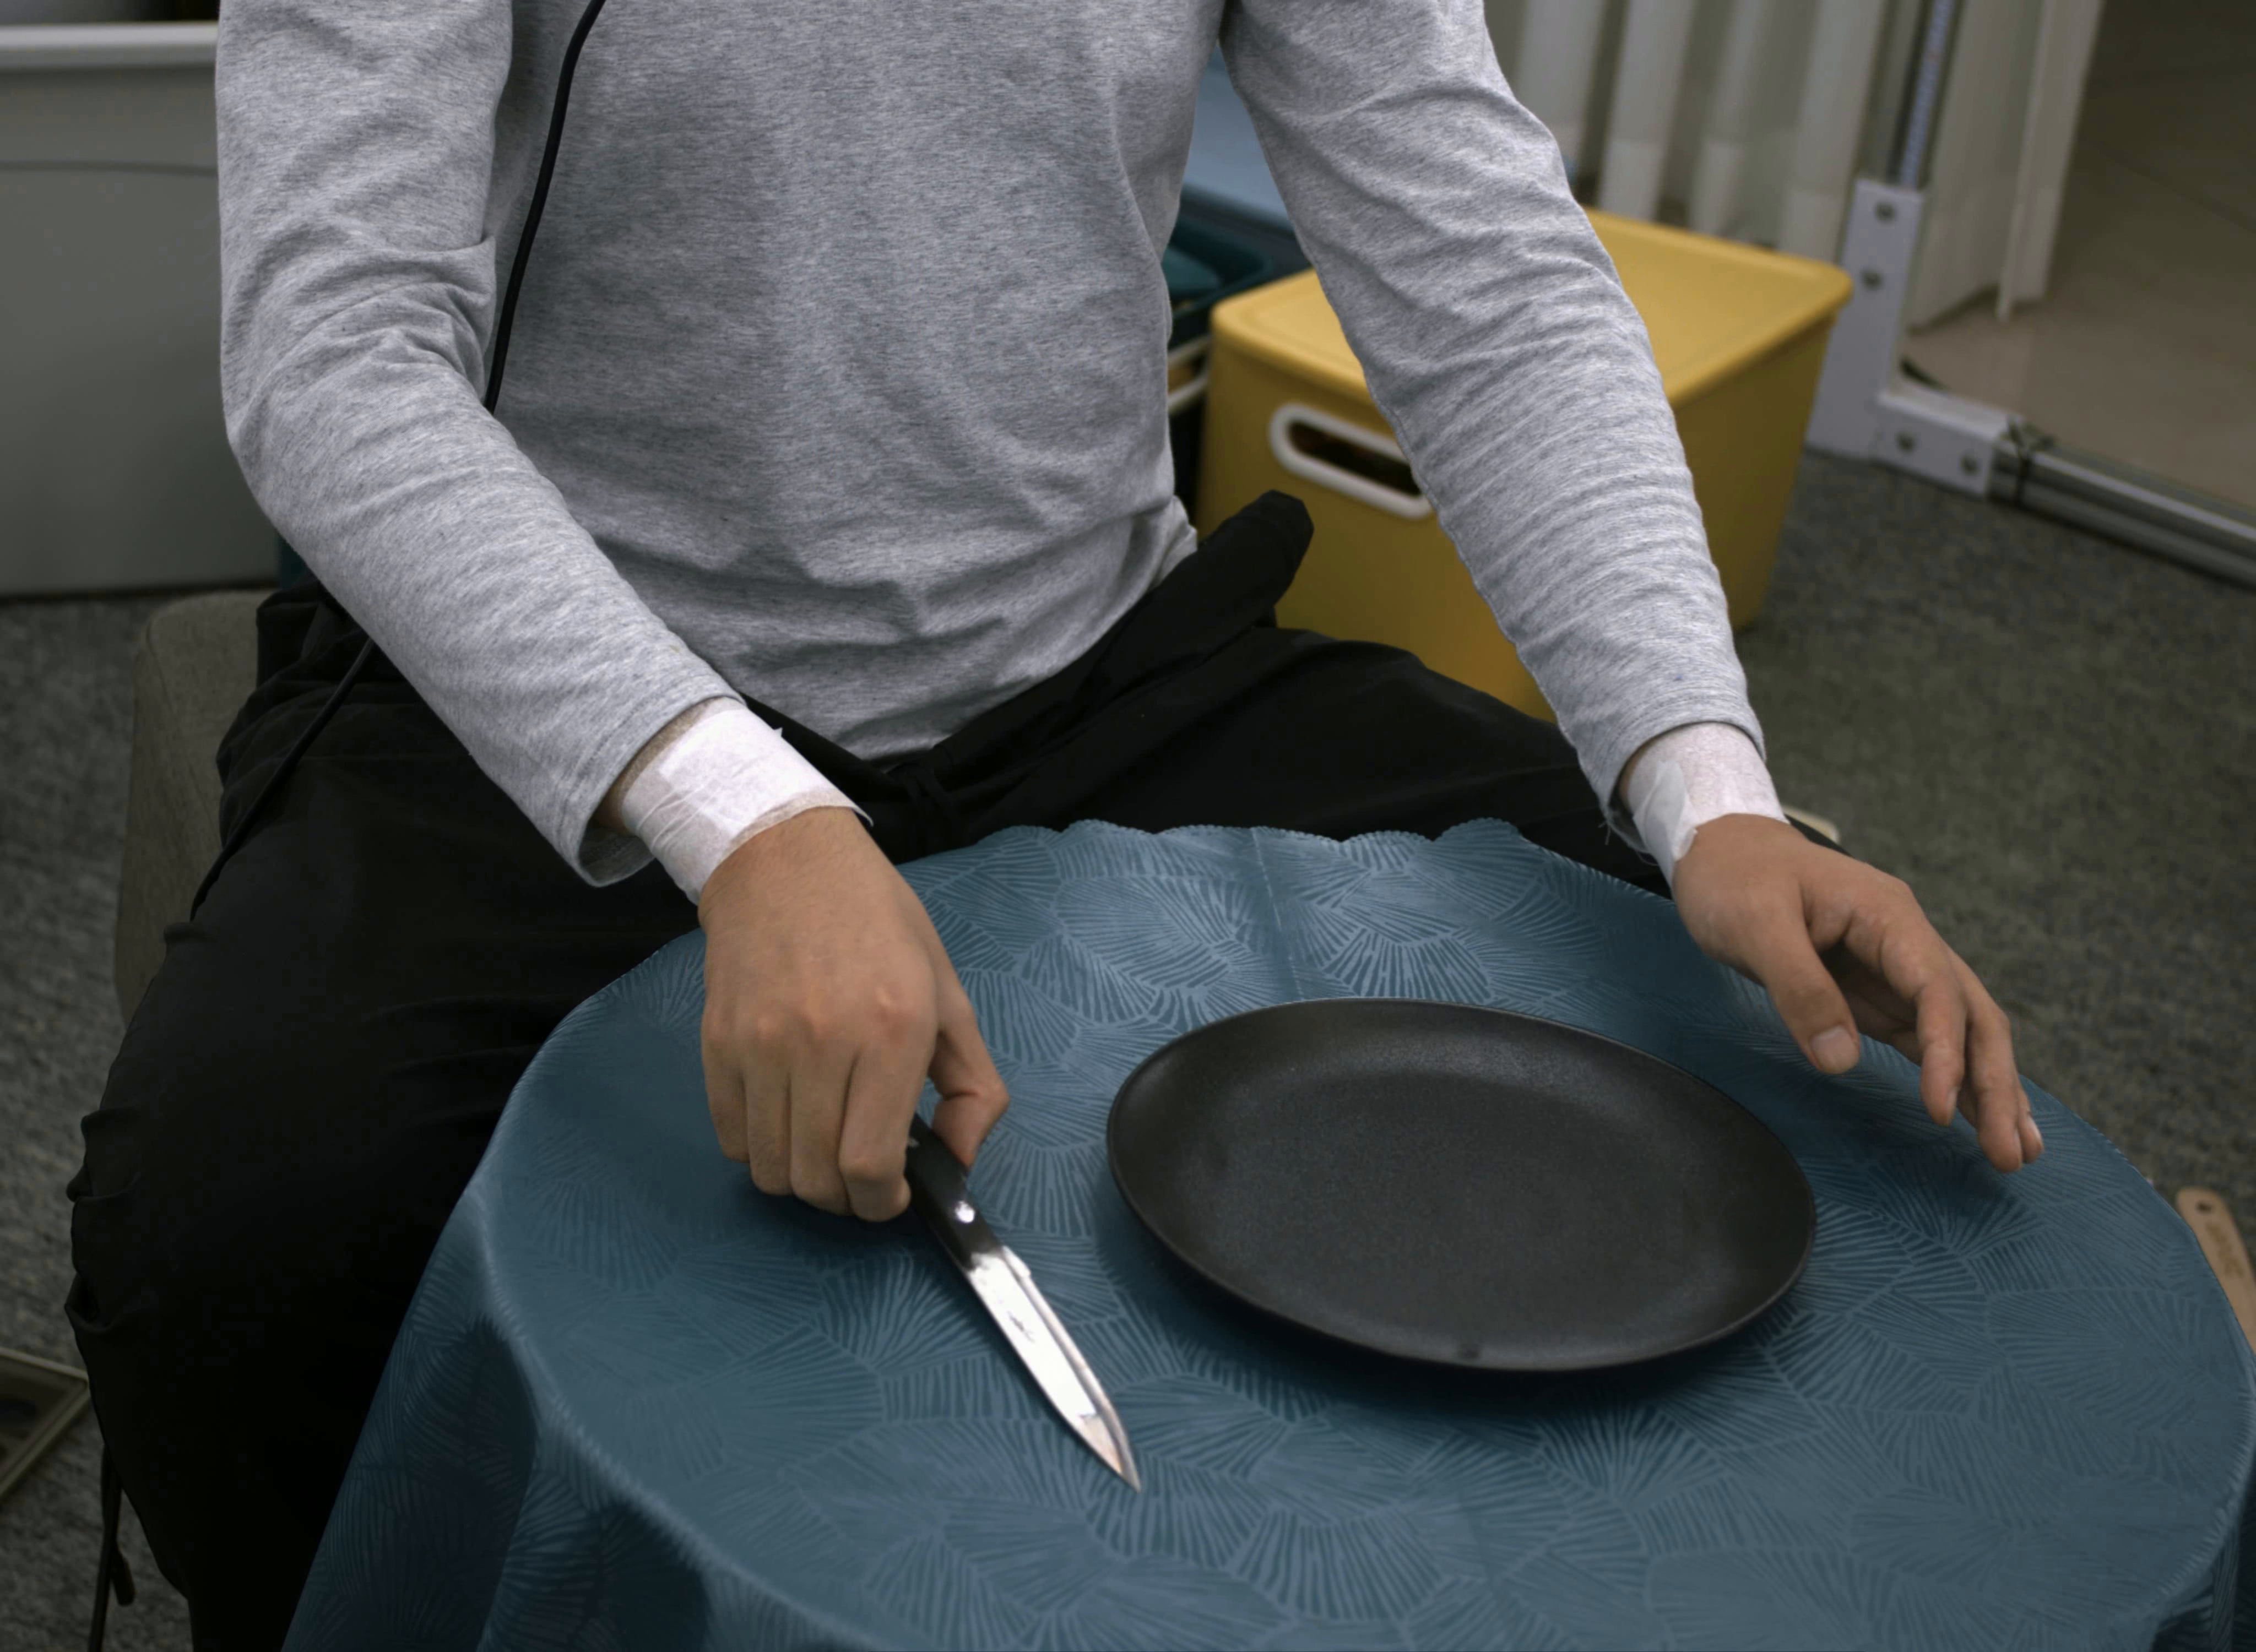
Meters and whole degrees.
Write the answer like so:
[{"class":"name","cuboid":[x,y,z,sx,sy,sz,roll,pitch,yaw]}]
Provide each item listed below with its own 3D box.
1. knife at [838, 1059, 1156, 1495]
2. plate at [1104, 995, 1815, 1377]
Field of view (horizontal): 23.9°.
[{"class":"knife","cuboid":[-0.045,0.146,1.733,0.024,0.016,0.240,-6,34,-26]},{"class":"plate","cuboid":[0.111,0.125,1.802,0.243,0.023,0.246,5,27,-3]}]
